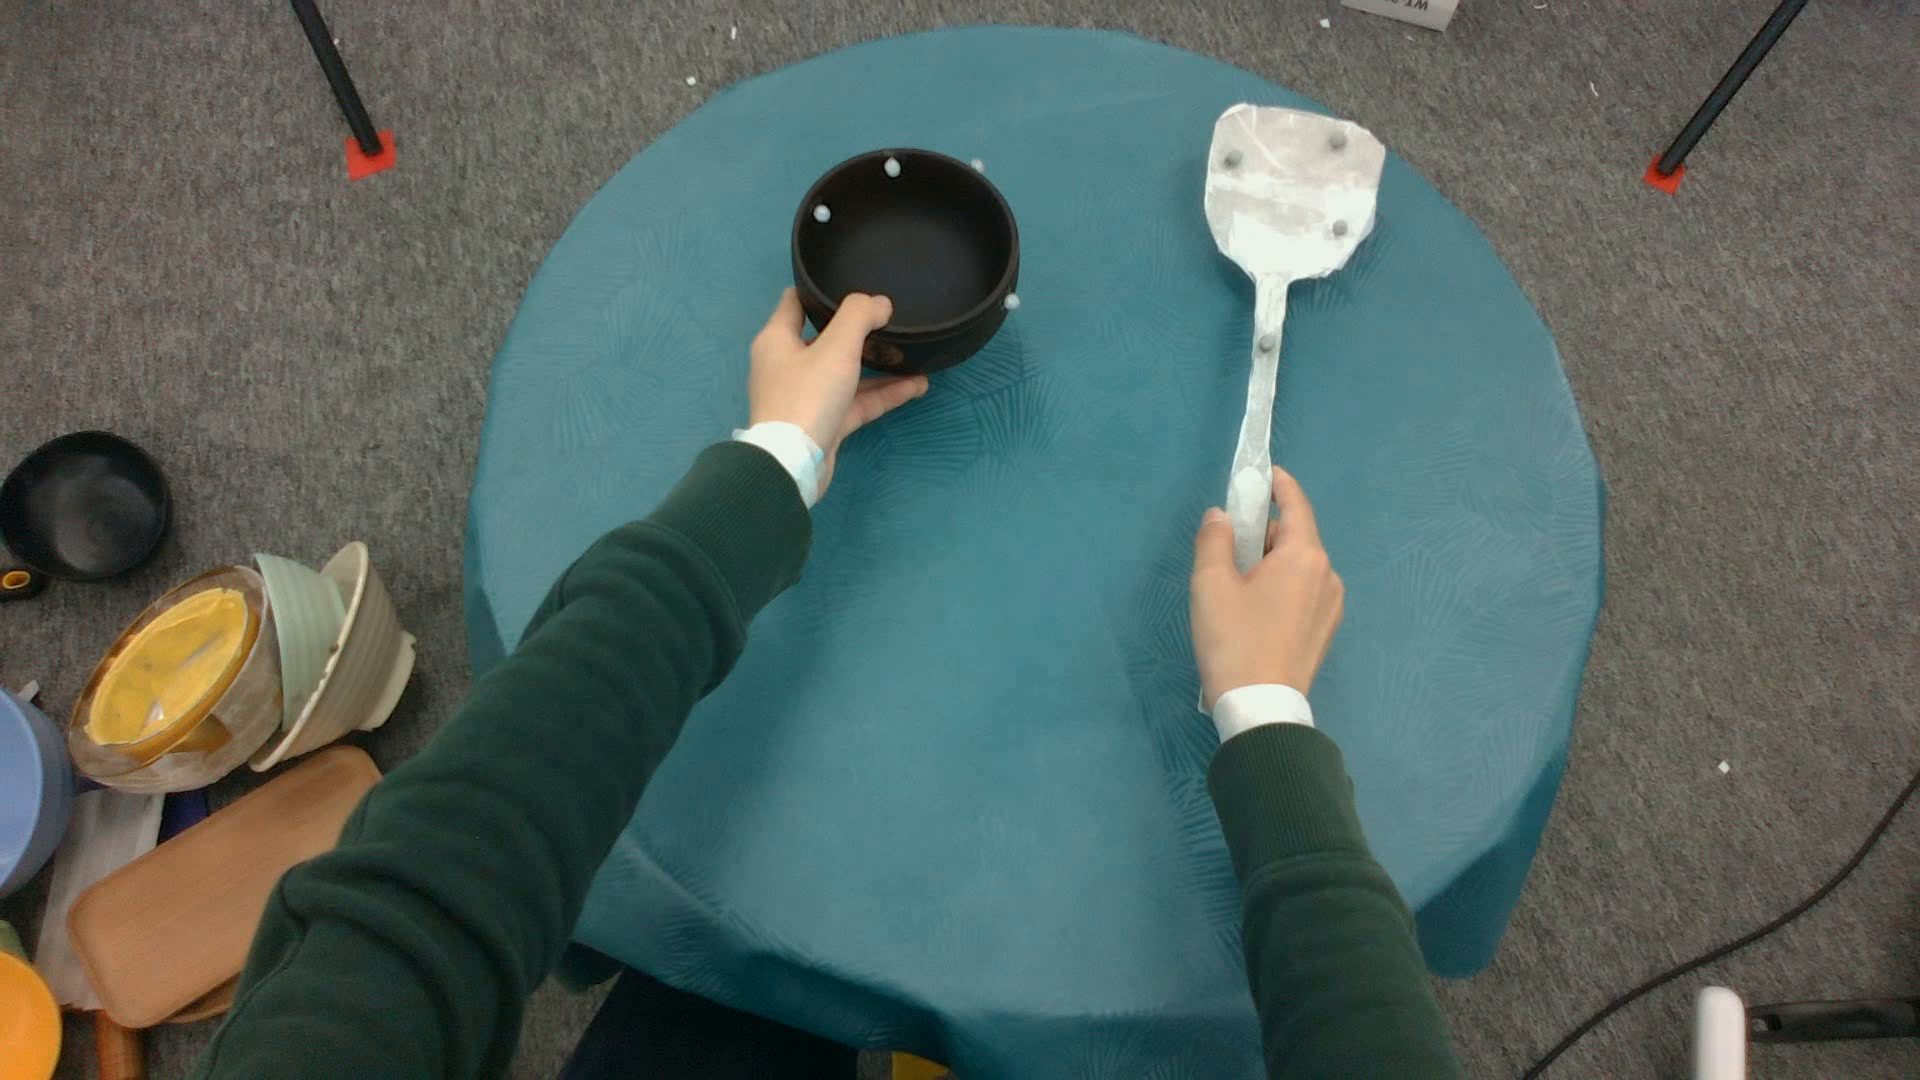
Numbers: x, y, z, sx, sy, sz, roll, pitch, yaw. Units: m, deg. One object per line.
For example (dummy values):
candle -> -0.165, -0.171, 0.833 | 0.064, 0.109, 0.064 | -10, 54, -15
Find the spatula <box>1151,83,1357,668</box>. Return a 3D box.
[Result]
spatula -> 0.143, -0.099, 0.721 | 0.099, 0.044, 0.366 | 15, 59, 0

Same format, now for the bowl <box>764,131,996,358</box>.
bowl -> -0.041, -0.146, 0.718 | 0.118, 0.069, 0.118 | 1, 65, -2
